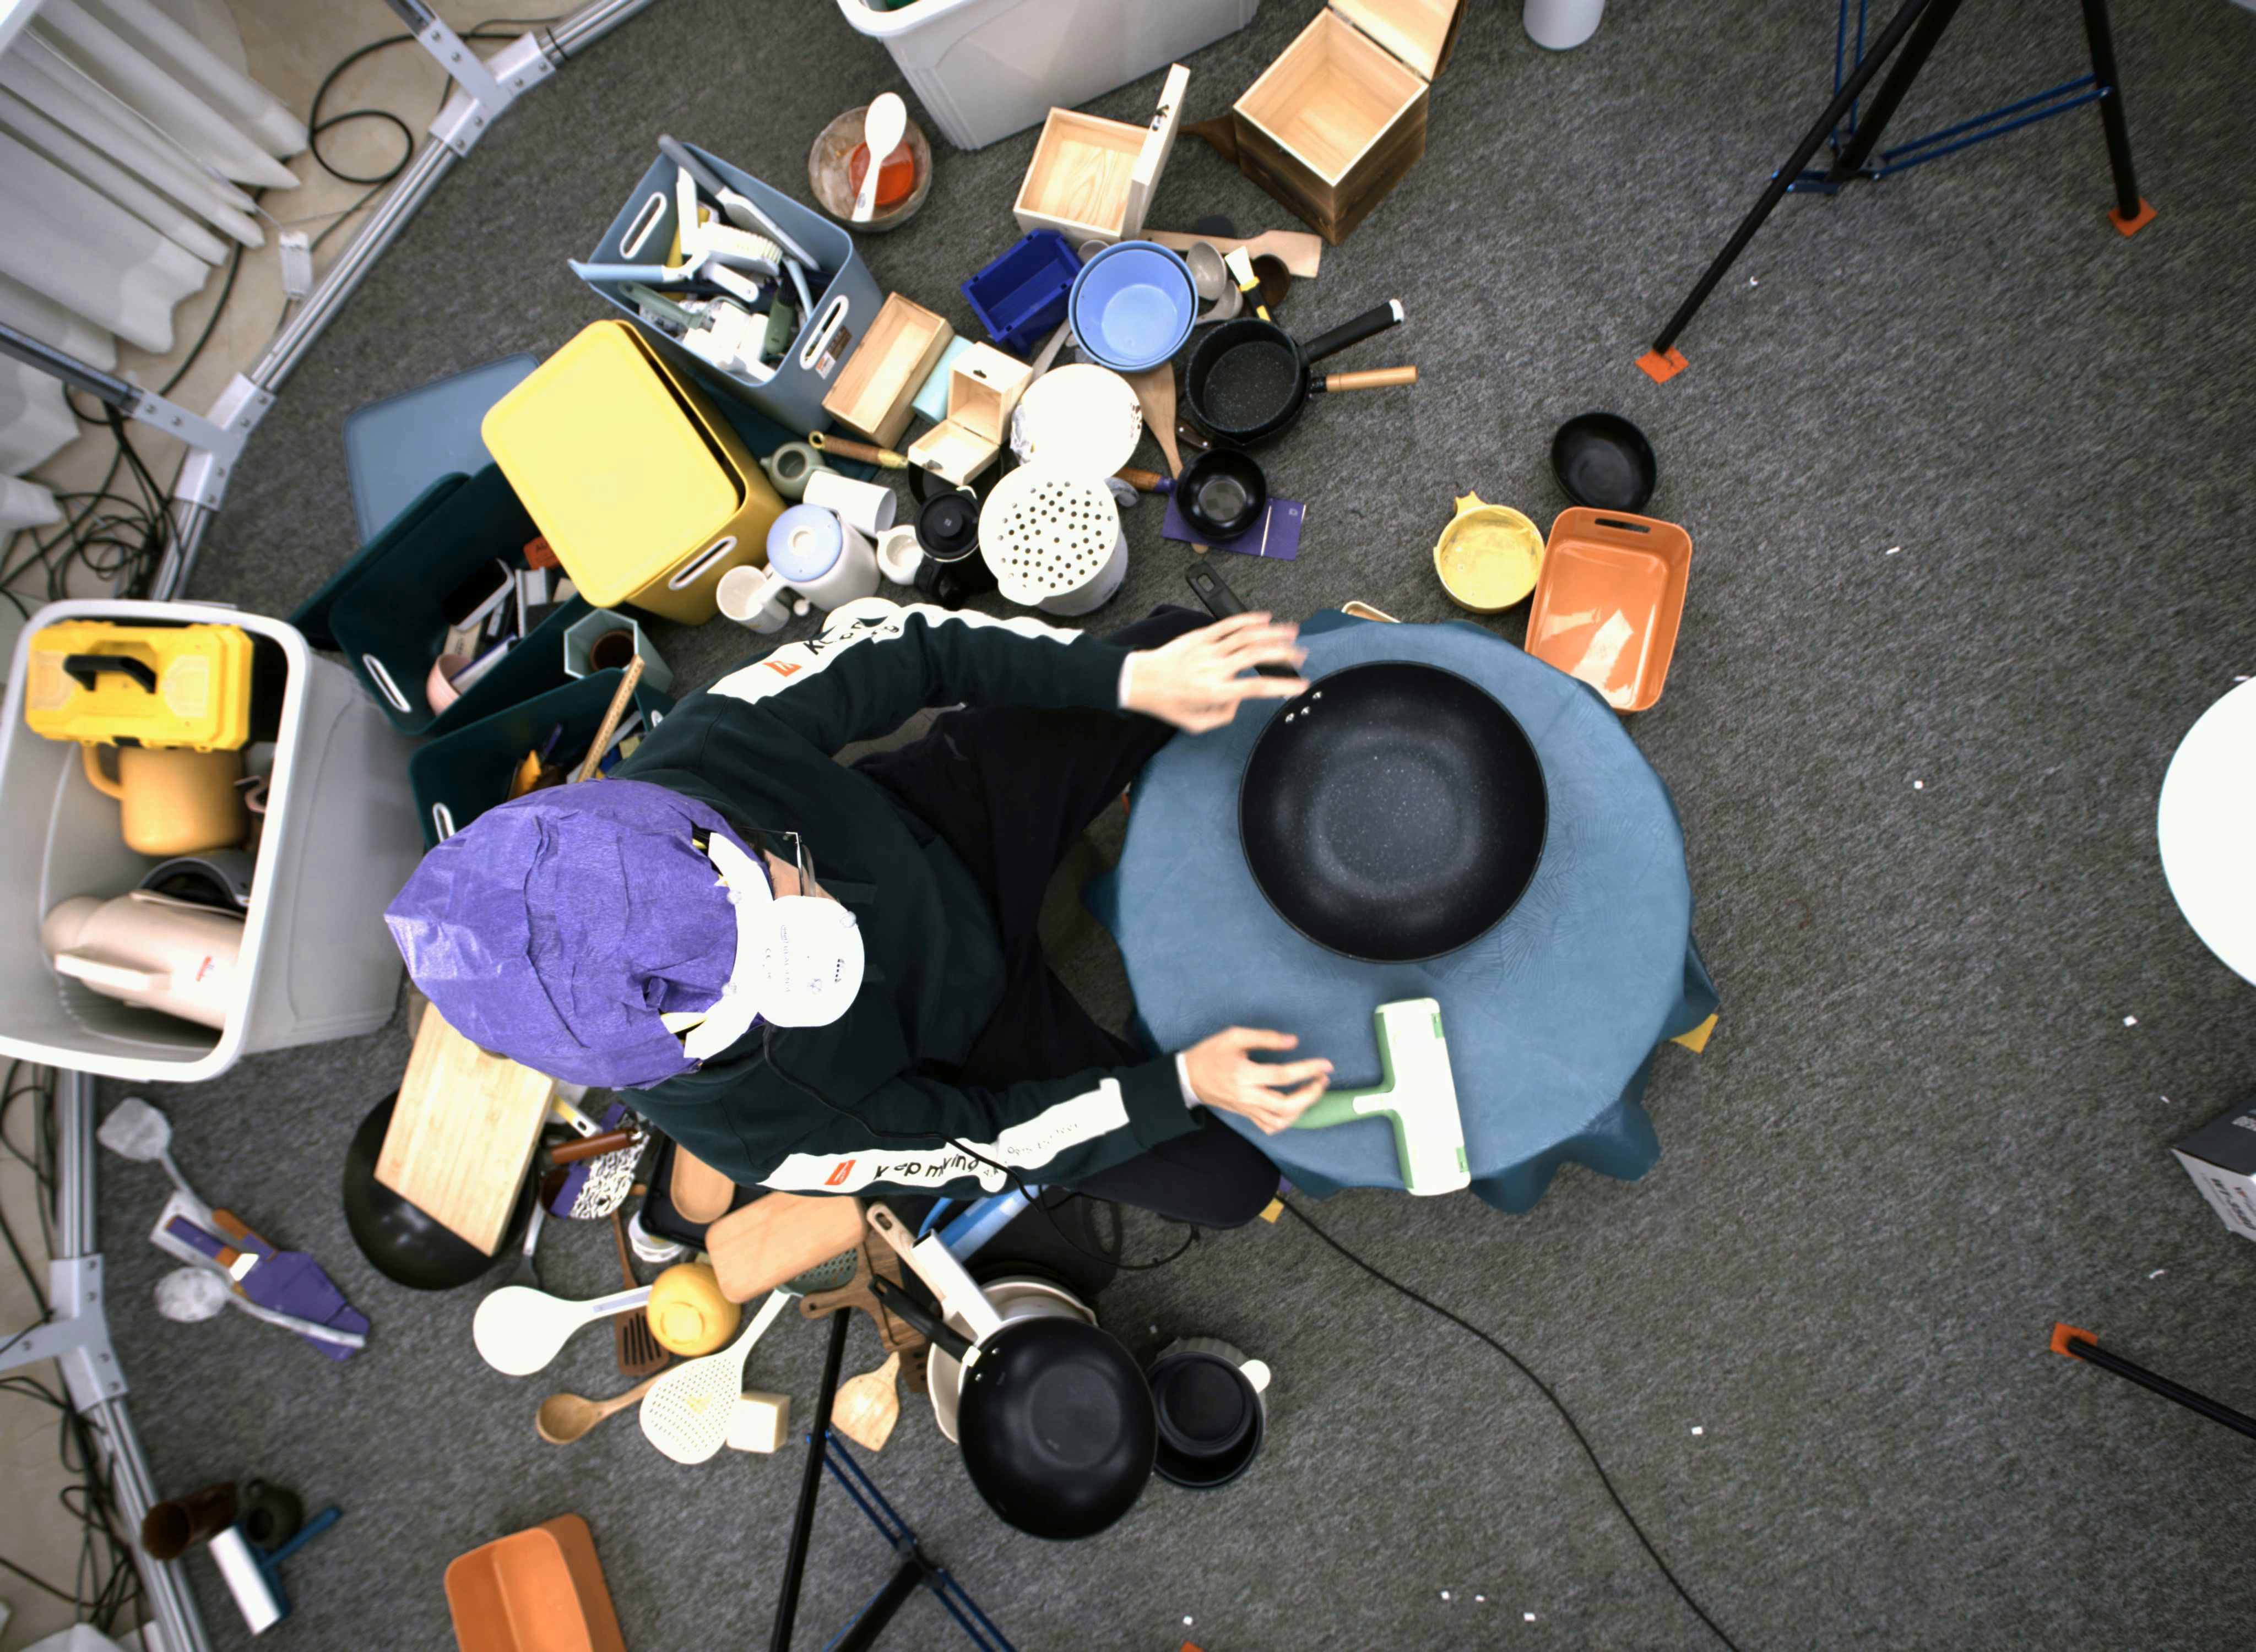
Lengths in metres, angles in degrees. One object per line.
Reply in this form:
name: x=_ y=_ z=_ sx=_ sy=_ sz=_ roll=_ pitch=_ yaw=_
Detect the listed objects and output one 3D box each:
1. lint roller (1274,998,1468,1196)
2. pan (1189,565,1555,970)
lint roller: x=0.240 y=0.283 z=1.412 sx=0.184 sy=0.082 sz=0.197 roll=-9 pitch=85 yaw=4
pan: x=0.222 y=-0.074 z=1.418 sx=0.311 sy=0.112 sz=0.474 roll=-39 pitch=82 yaw=5
